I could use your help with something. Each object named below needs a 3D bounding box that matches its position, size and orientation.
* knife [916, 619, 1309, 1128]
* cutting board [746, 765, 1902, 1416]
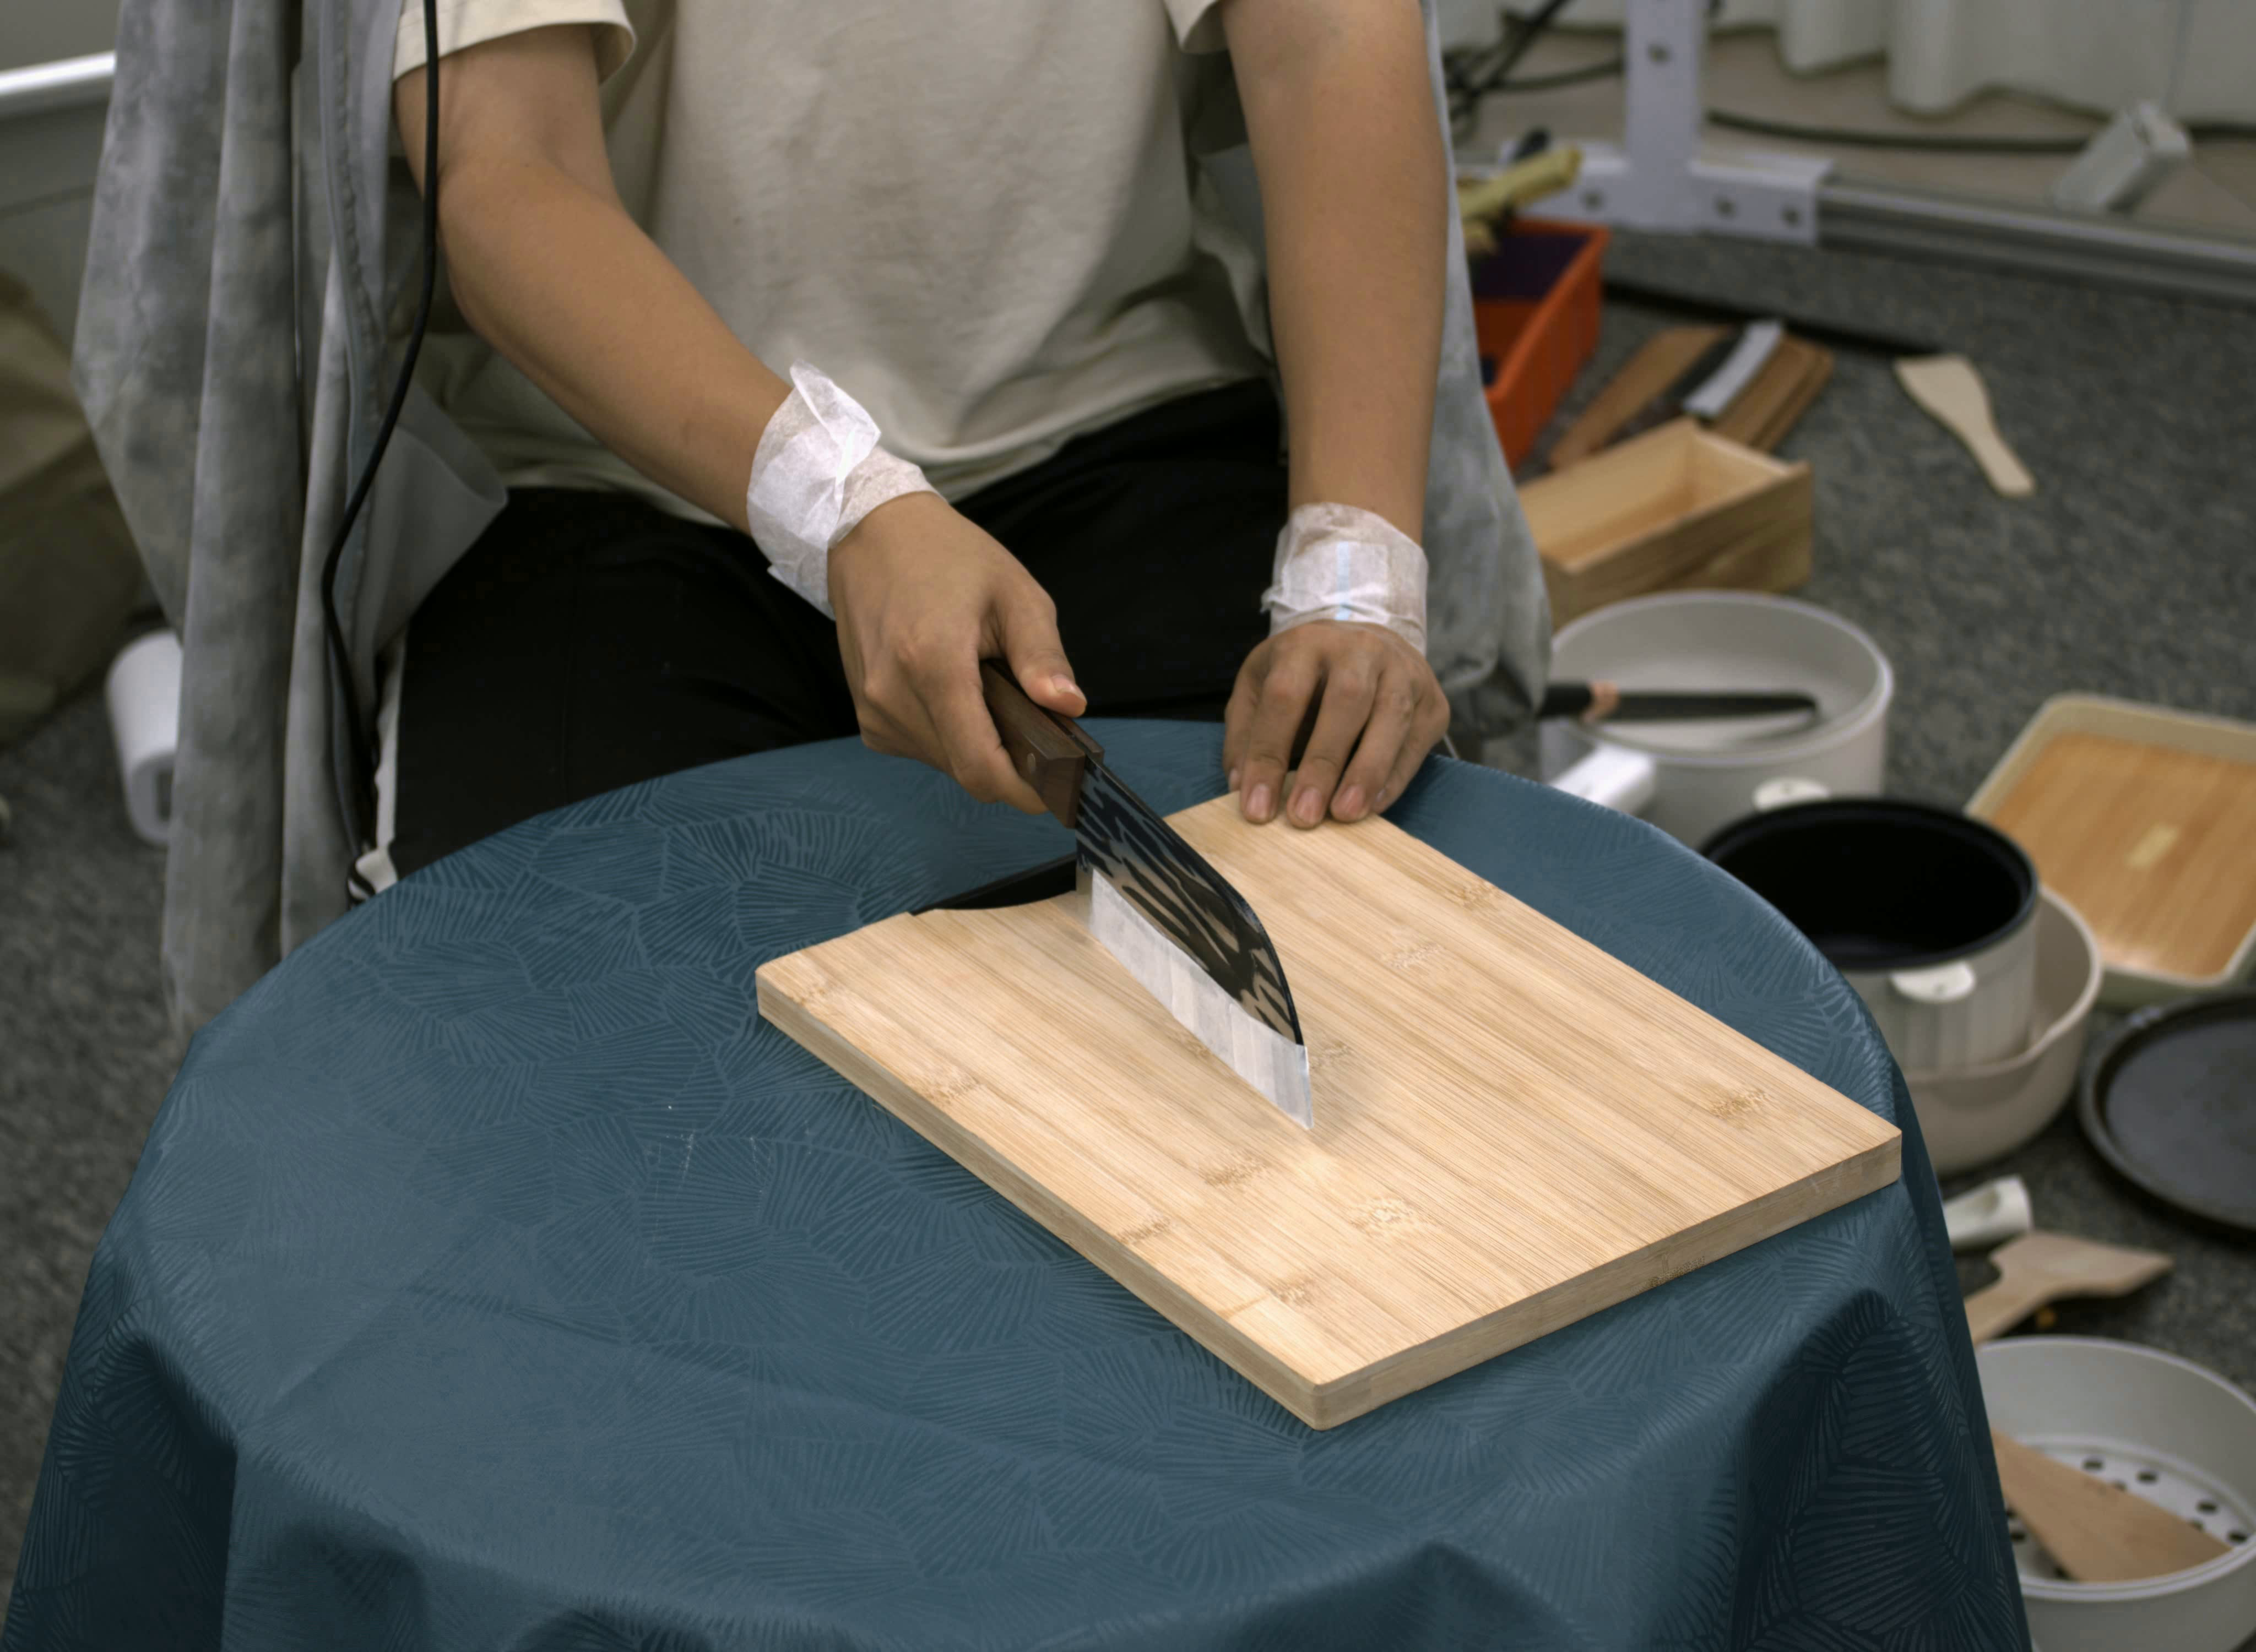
[{"bbox_3d":[-0.005,0.013,1.952,0.024,0.067,0.301,-9,30,-25],"label":"knife"},{"bbox_3d":[0.059,0.082,1.914,0.253,0.023,0.349,-20,31,-30],"label":"cutting board"}]
